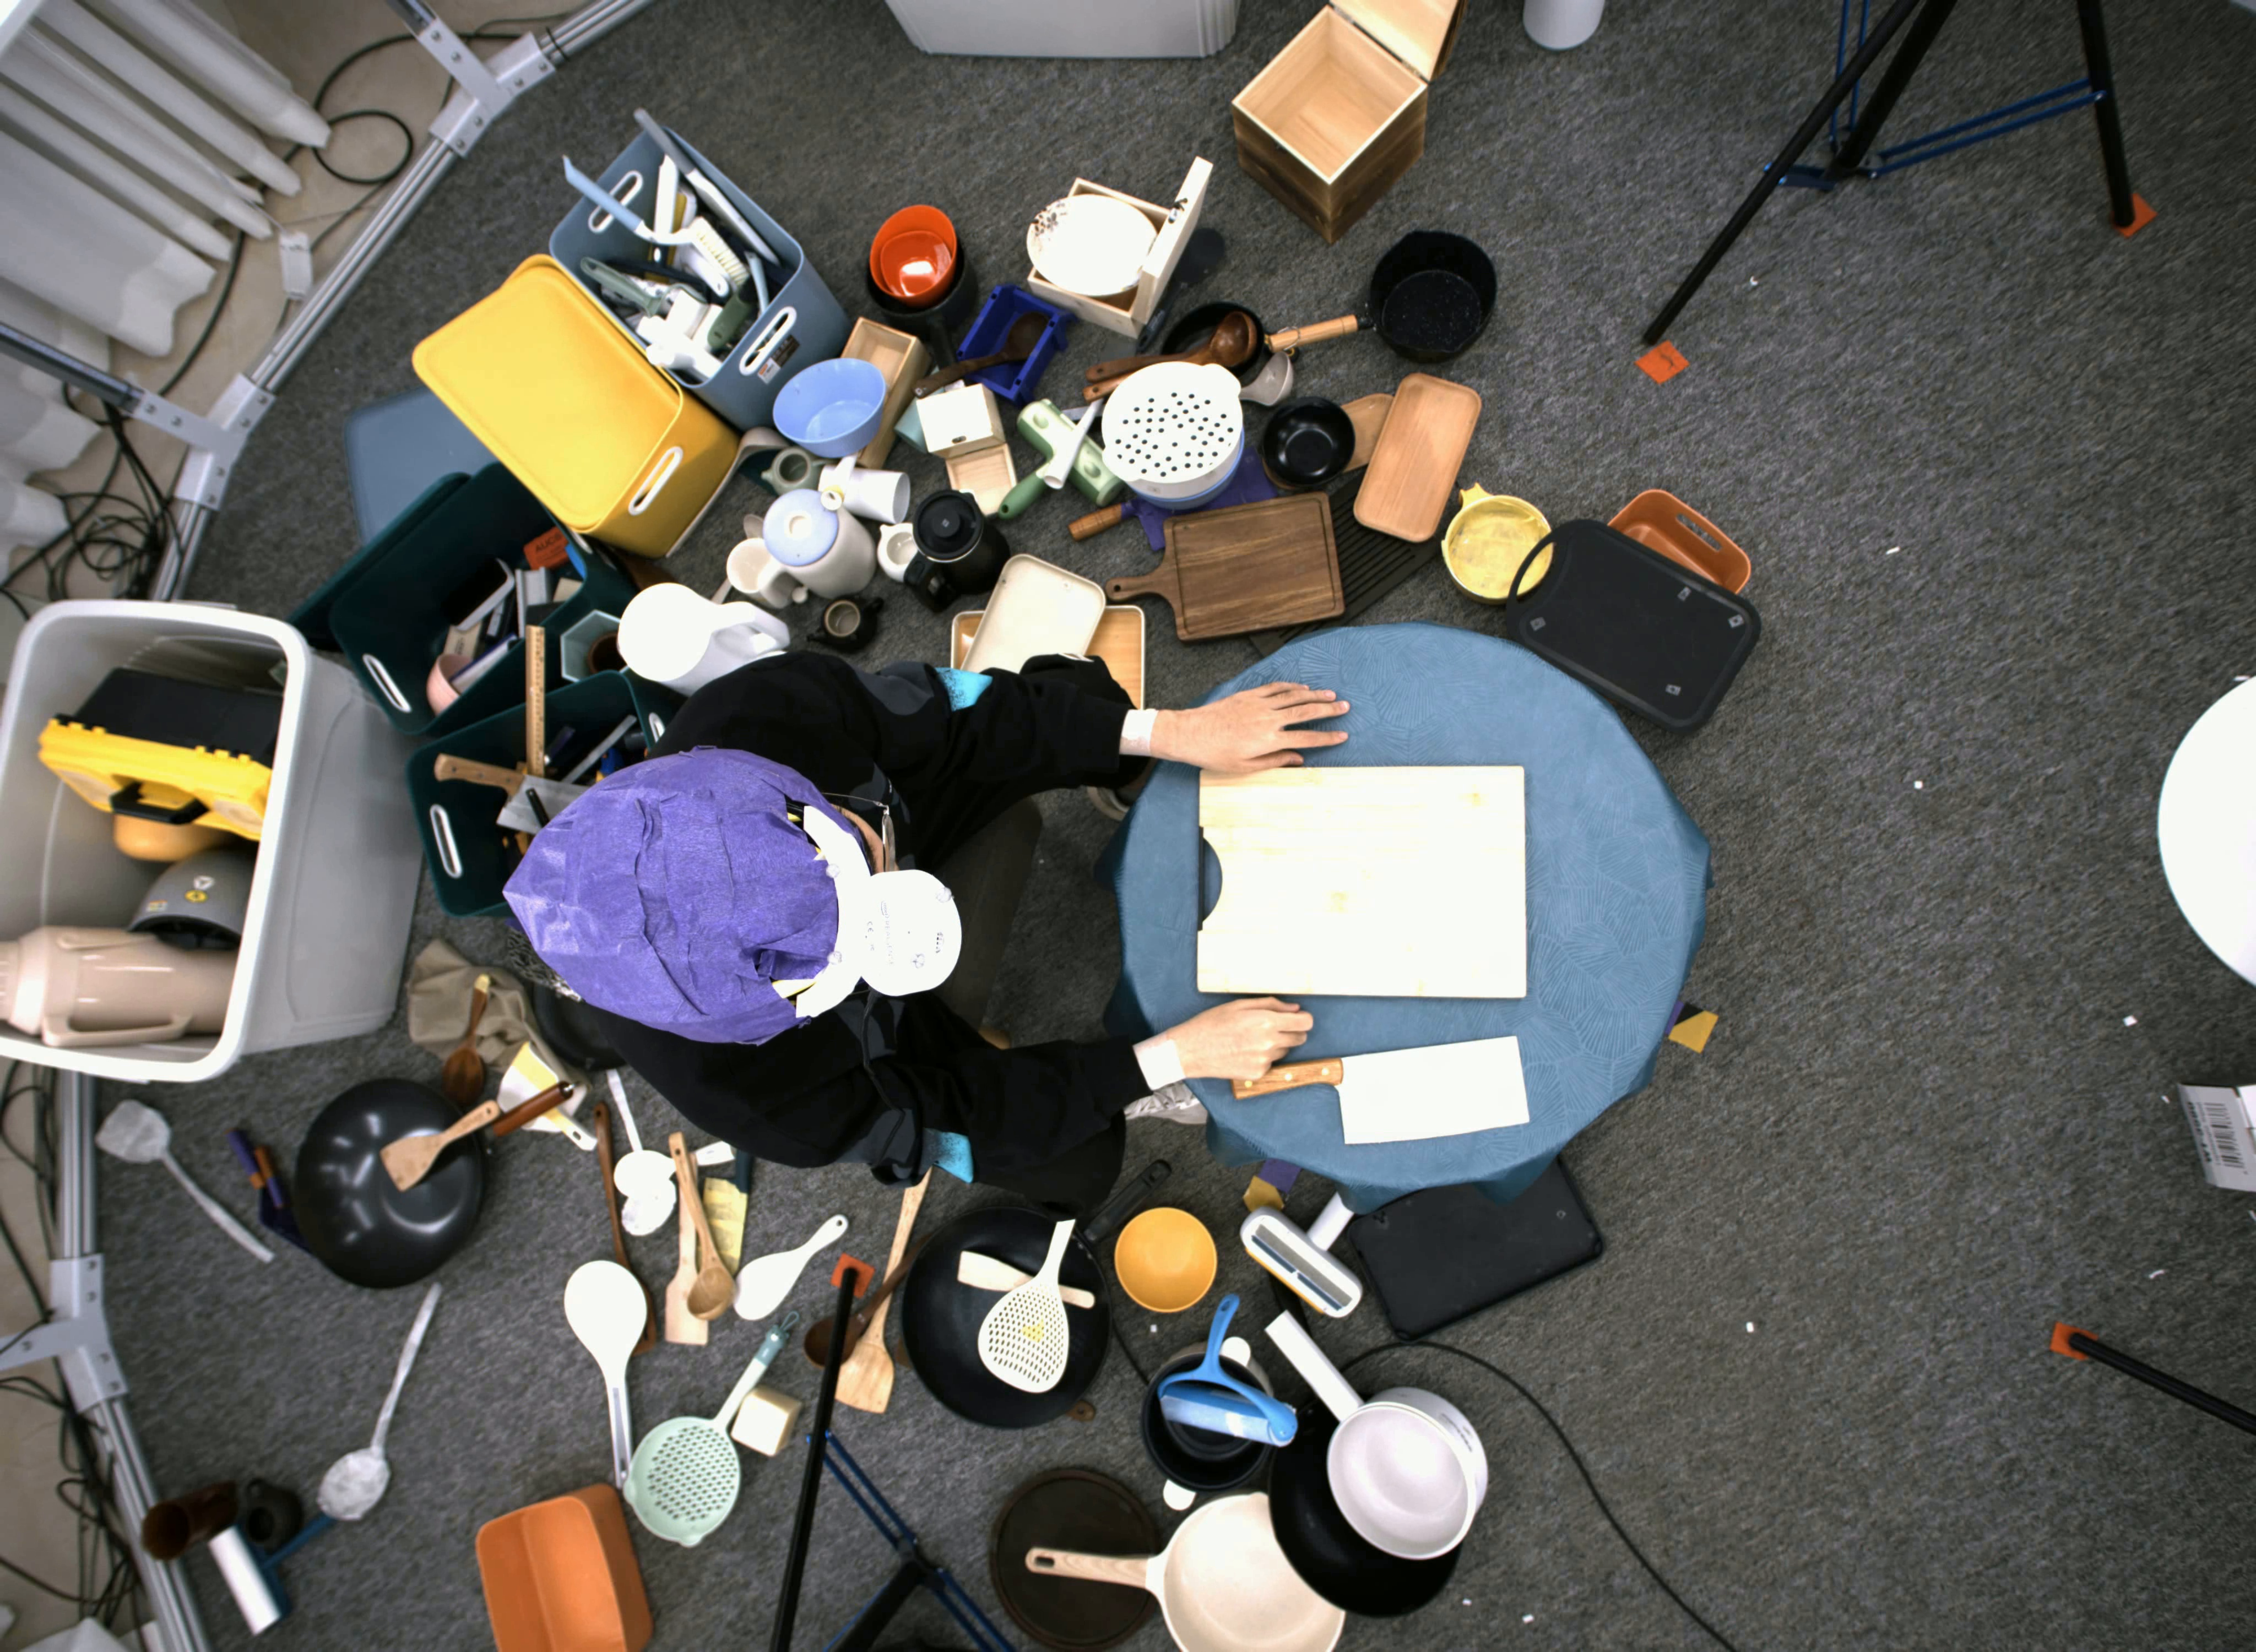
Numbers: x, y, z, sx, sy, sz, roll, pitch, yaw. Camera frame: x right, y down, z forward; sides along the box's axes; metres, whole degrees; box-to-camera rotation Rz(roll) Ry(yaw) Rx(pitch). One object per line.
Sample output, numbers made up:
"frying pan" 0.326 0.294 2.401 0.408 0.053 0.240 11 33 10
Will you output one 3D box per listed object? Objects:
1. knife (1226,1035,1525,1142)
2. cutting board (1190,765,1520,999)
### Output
"knife" 0.258 0.279 1.443 0.307 0.021 0.092 -8 87 8
"cutting board" 0.238 0.055 1.458 0.350 0.023 0.249 -1 86 10
